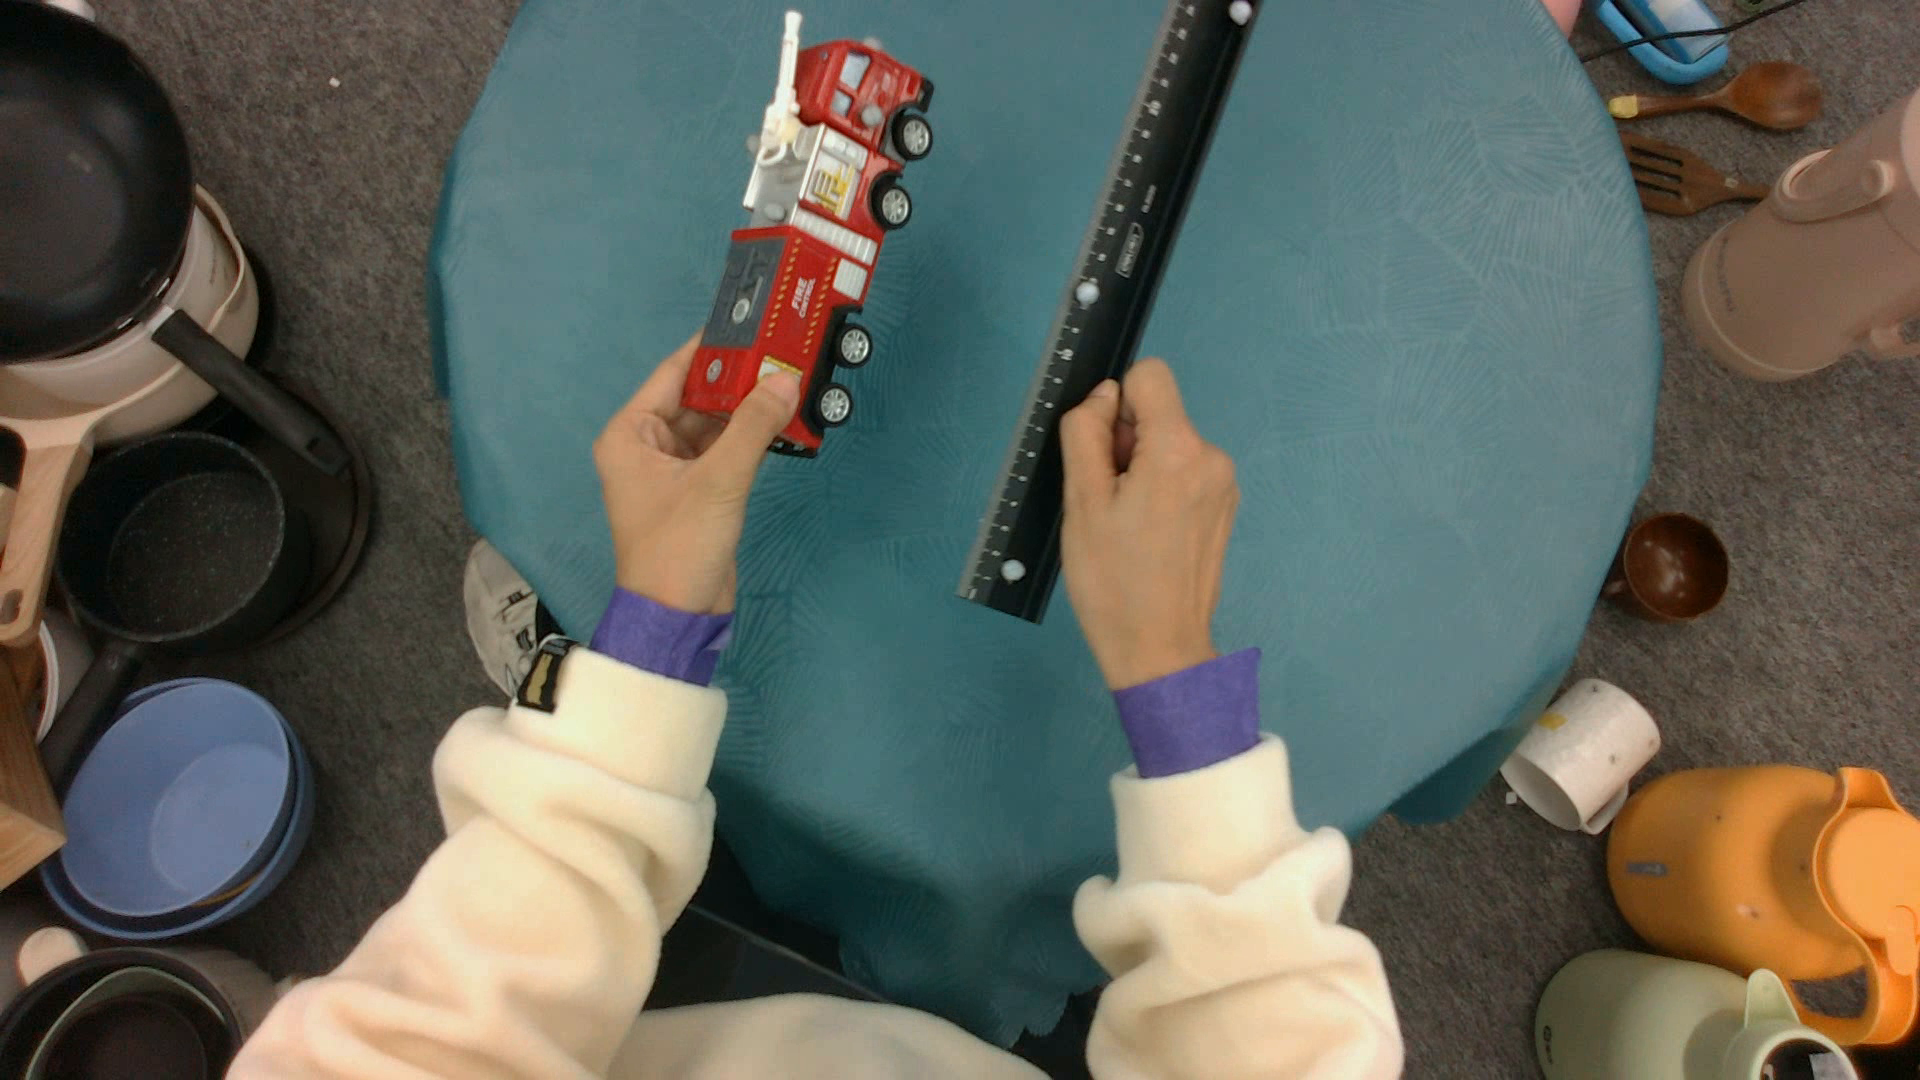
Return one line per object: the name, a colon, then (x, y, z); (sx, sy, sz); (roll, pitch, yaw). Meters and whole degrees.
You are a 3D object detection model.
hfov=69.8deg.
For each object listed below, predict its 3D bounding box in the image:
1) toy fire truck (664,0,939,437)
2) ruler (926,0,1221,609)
toy fire truck: (-0.064, -0.127, 0.545); (0.070, 0.054, 0.168); (18, 86, -38)
ruler: (0.055, -0.125, 0.523); (0.039, 0.017, 0.312); (21, 87, -31)
